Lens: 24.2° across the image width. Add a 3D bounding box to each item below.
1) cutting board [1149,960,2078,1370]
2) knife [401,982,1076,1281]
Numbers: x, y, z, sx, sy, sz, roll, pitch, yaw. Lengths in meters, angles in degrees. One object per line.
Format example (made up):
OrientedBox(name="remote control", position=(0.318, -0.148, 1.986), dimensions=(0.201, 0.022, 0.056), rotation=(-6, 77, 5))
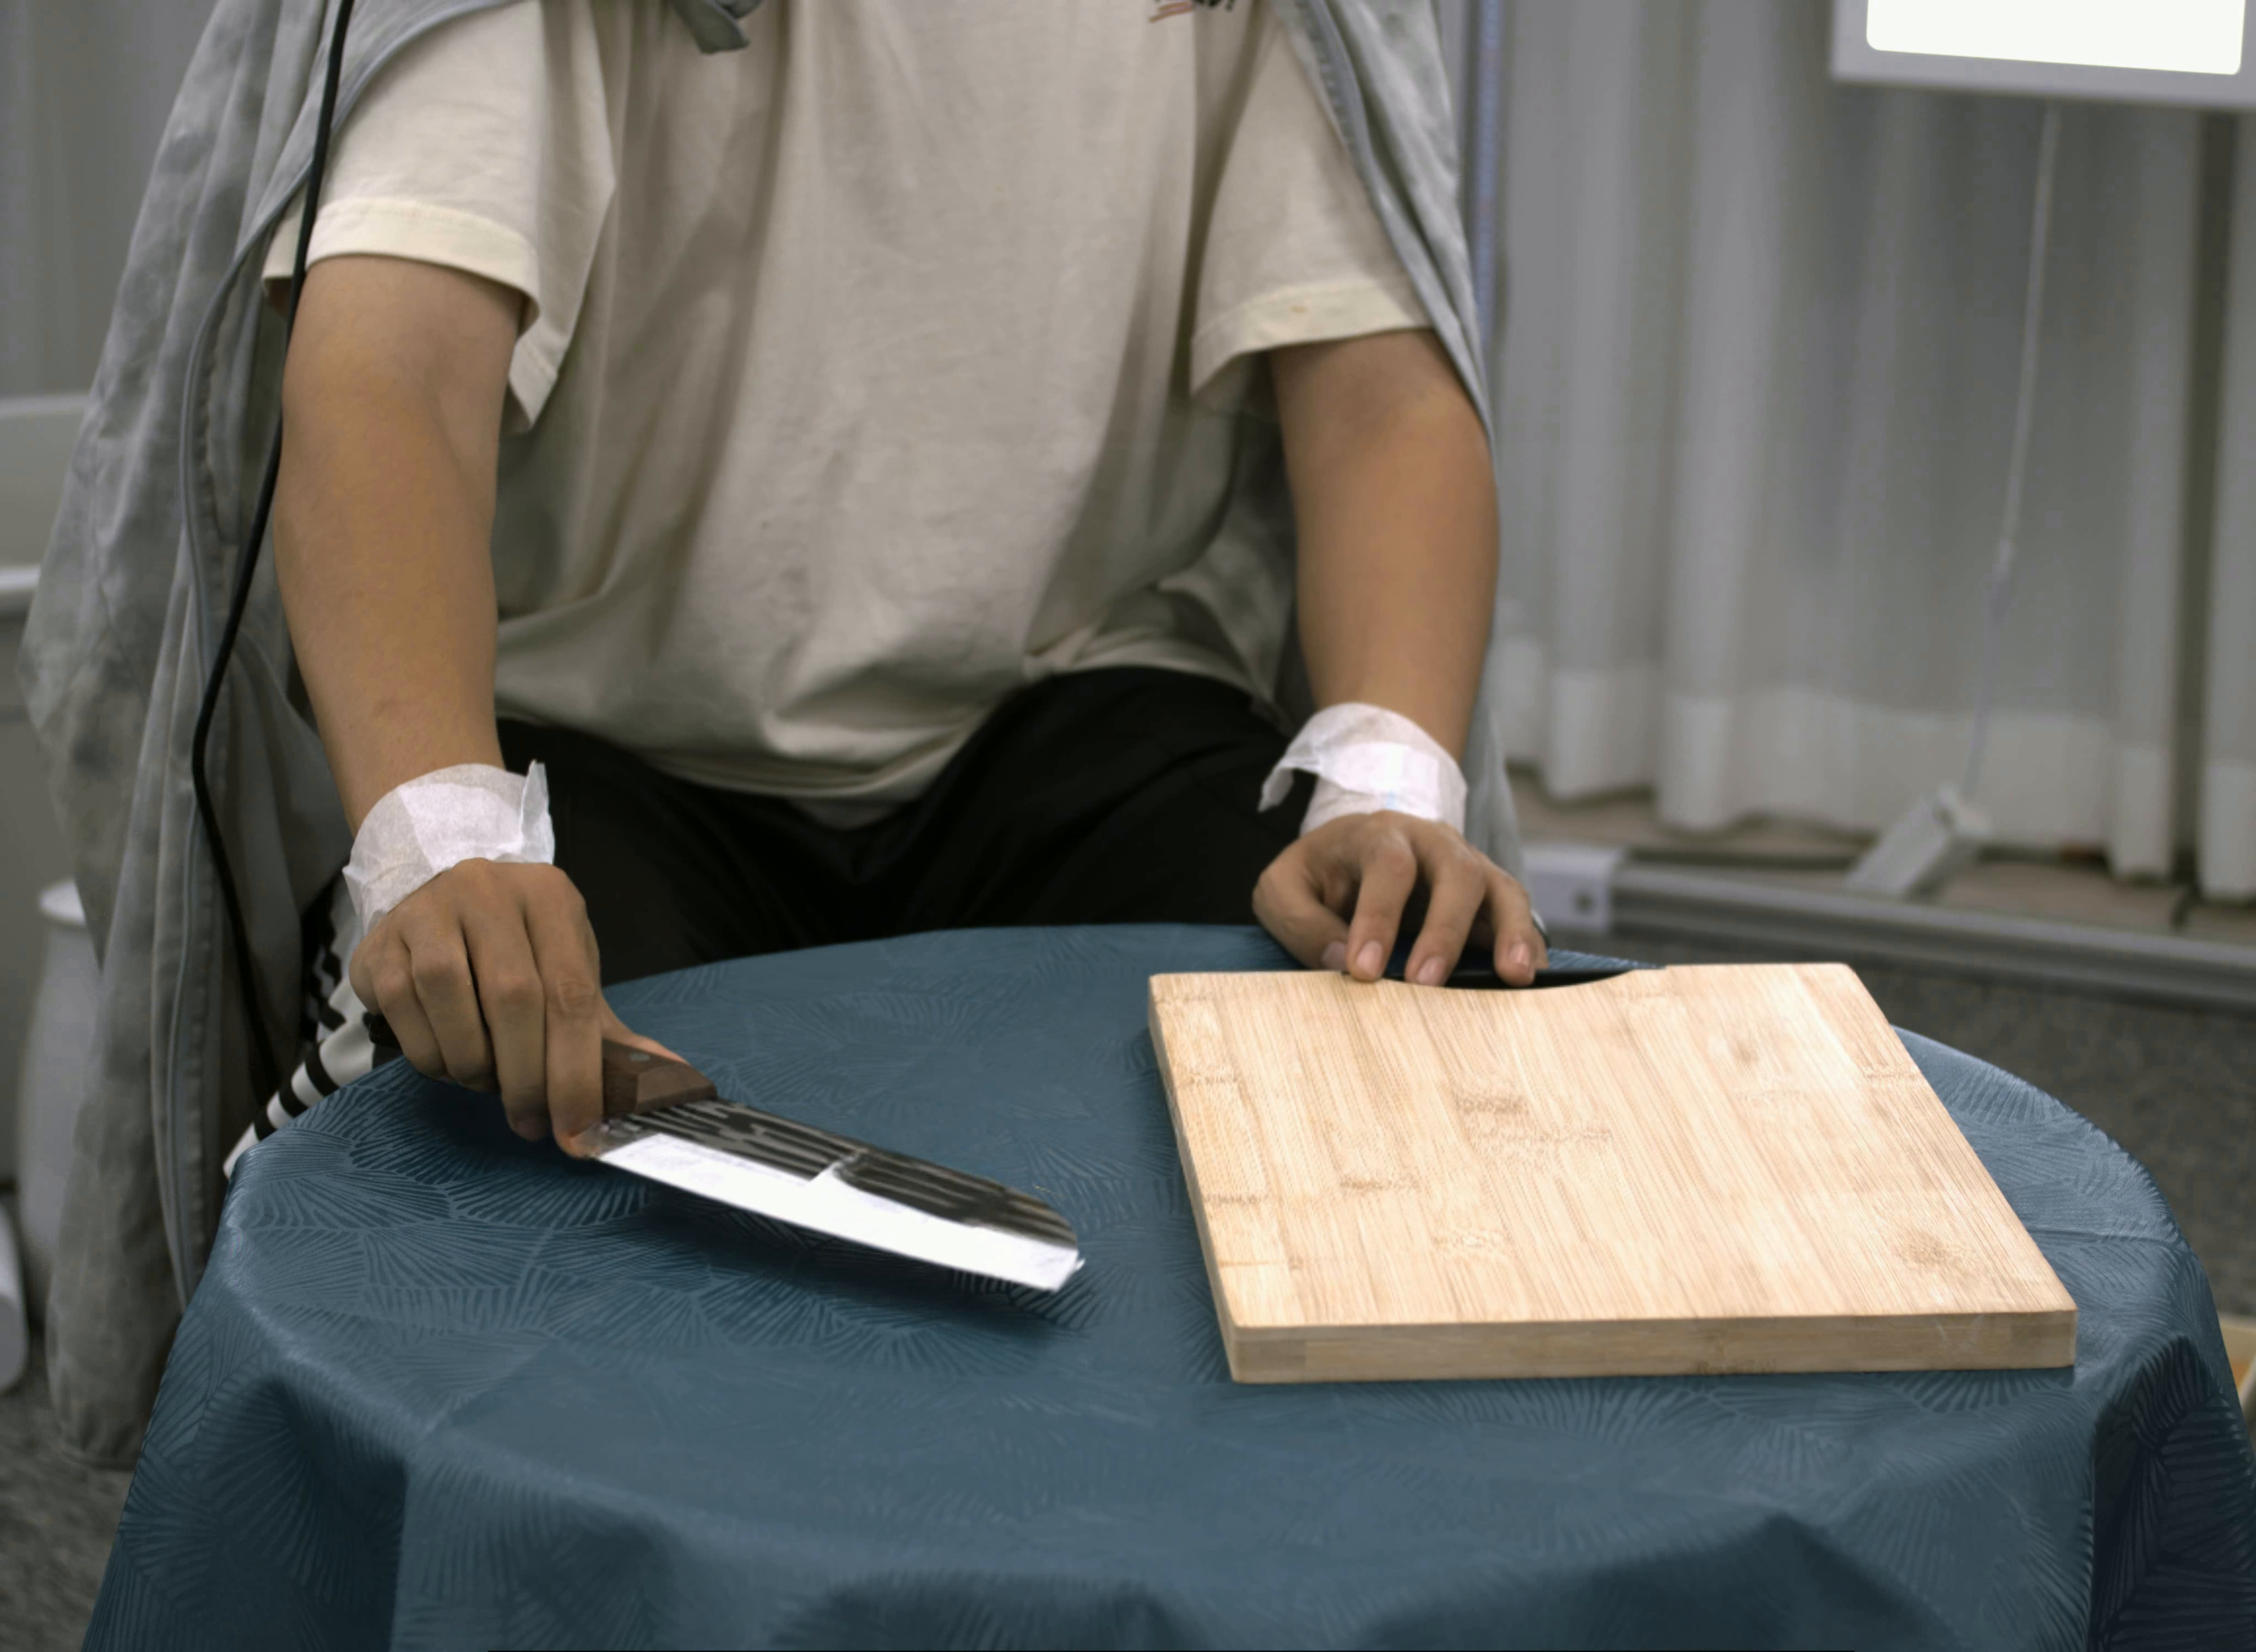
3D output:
OrientedBox(name="cutting board", position=(0.138, 0.101, 1.643), dimensions=(0.250, 0.024, 0.346), rotation=(0, 15, -5))
OrientedBox(name="knife", position=(-0.127, 0.094, 1.598), dimensions=(0.295, 0.024, 0.068), rotation=(15, 19, 34))
